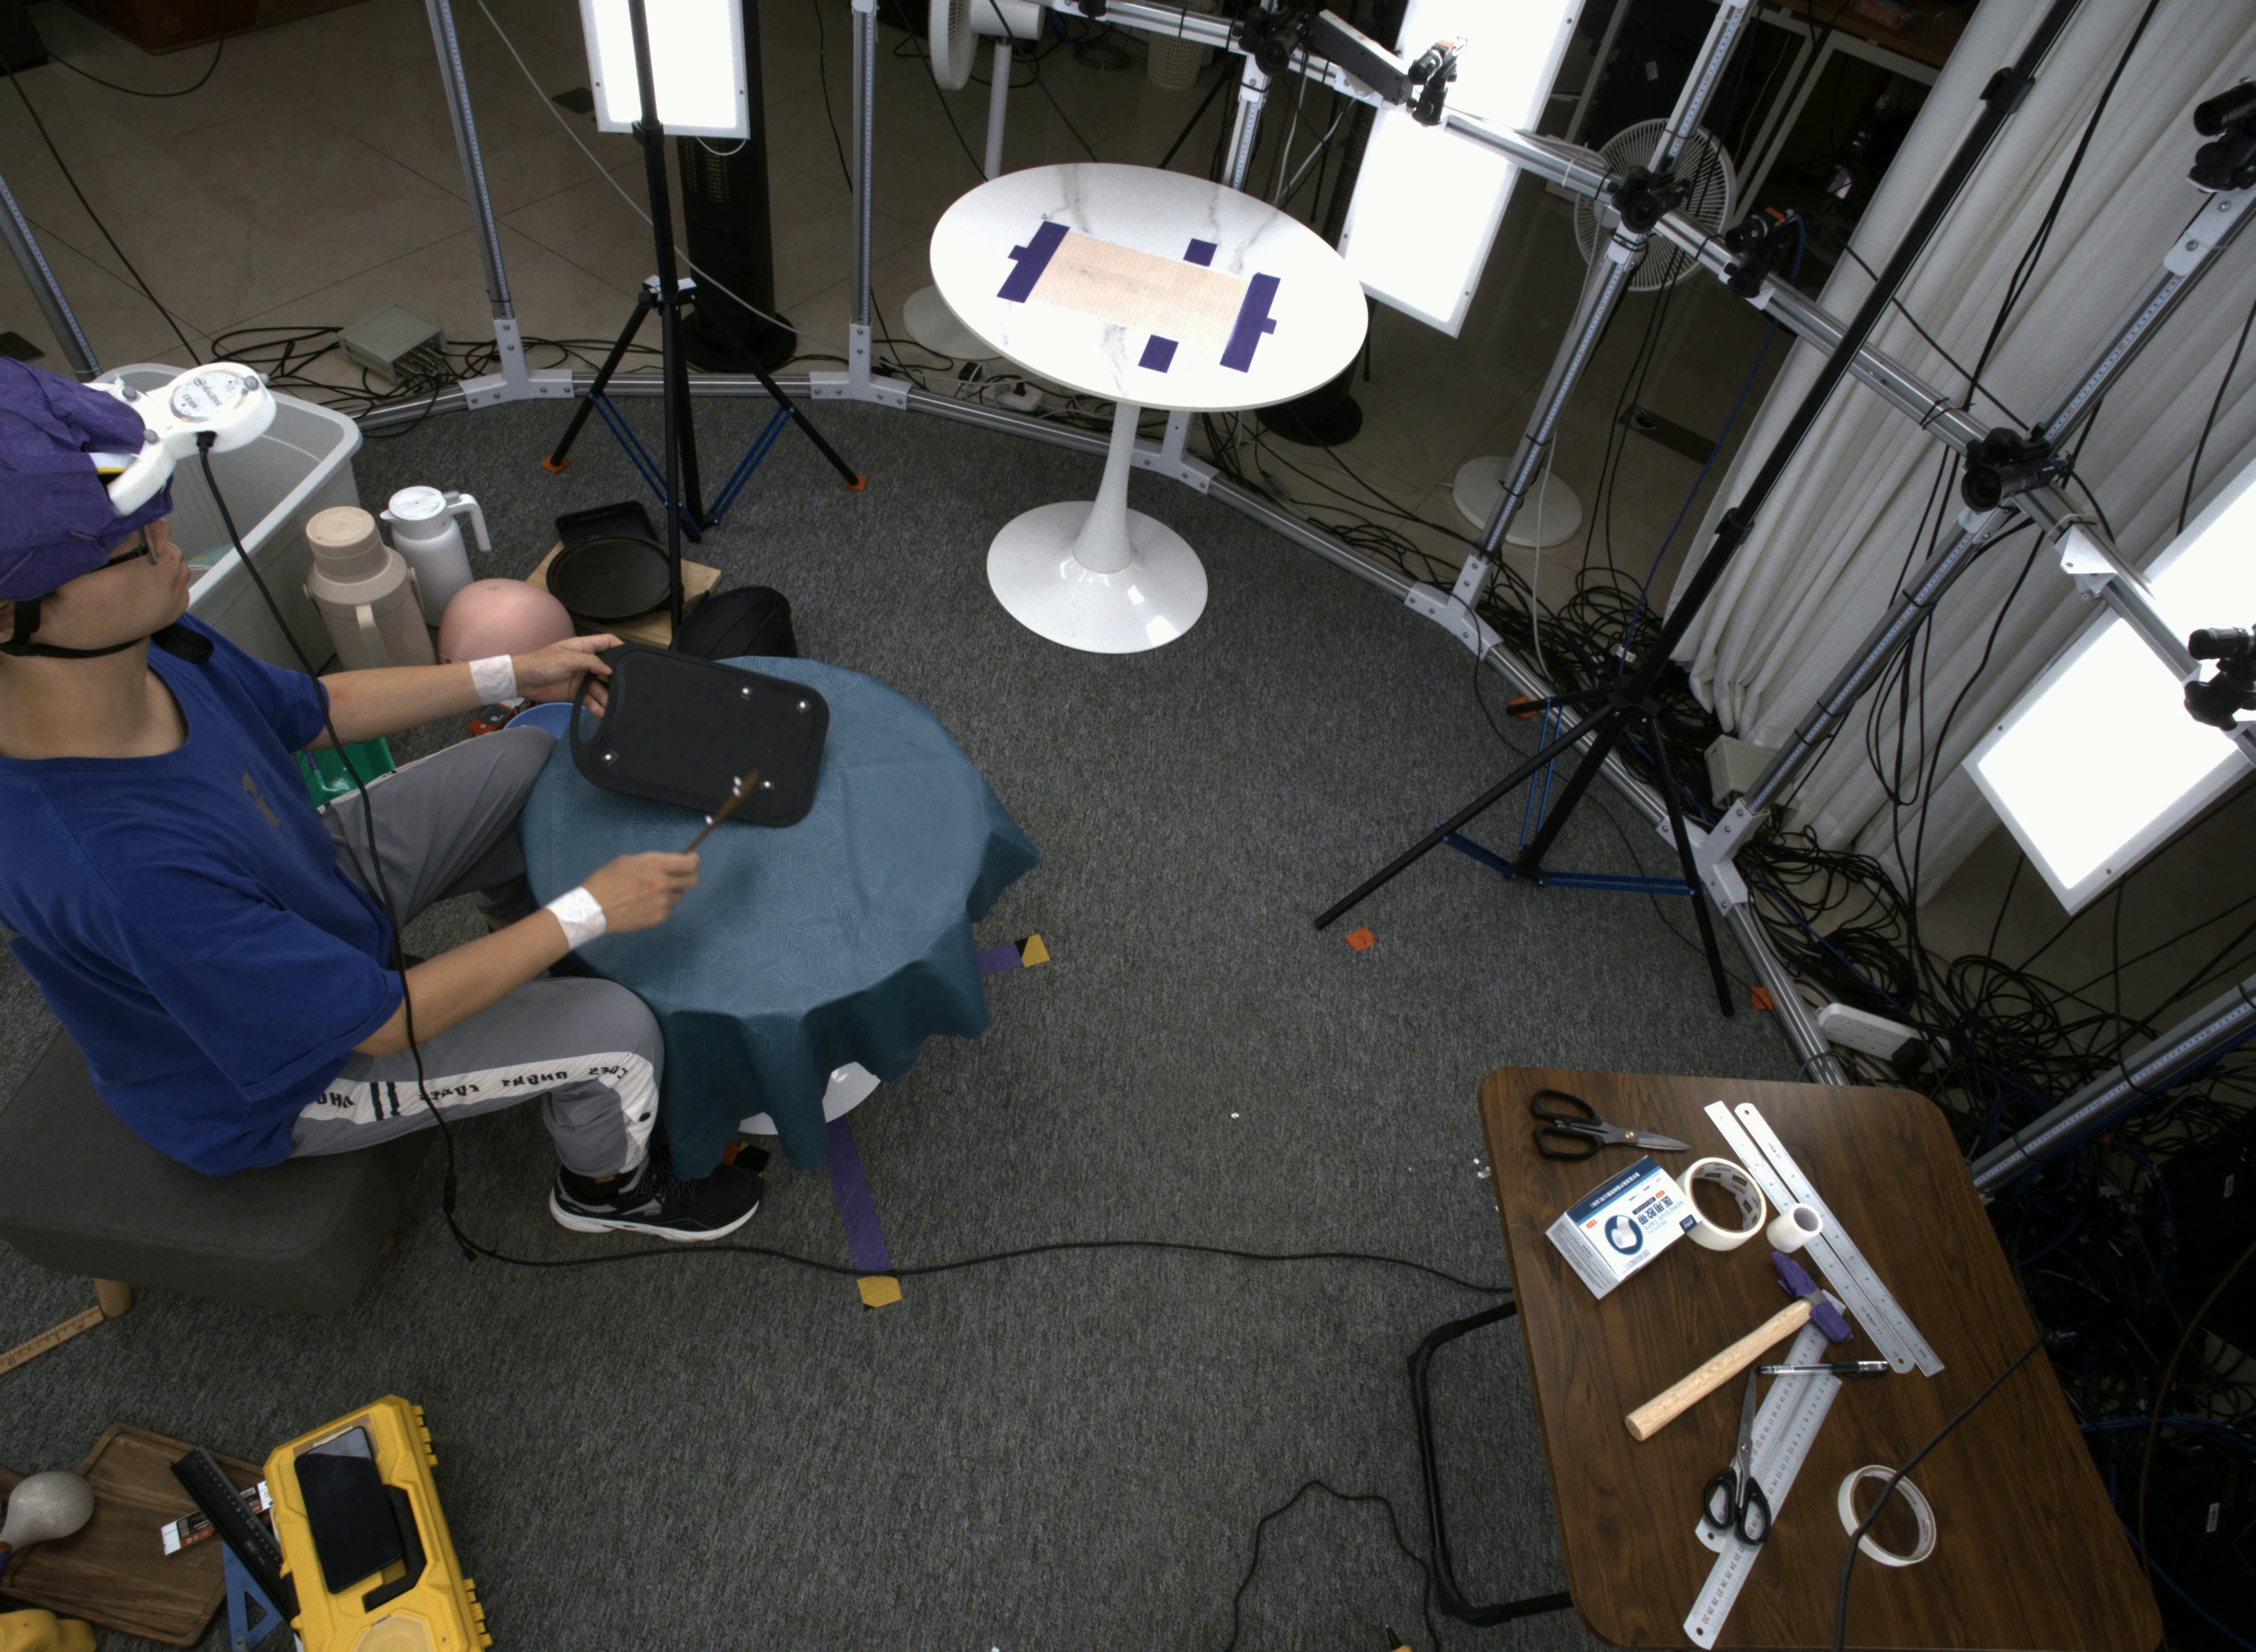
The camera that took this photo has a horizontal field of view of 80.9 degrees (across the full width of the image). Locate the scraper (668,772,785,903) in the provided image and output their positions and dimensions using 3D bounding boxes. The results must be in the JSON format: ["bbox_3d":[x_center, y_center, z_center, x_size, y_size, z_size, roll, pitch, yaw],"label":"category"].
[{"bbox_3d":[-0.494,0.013,1.591,0.011,0.074,0.211,46,62,-18],"label":"scraper"}]

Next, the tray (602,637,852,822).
[{"bbox_3d":[-0.543,-0.133,1.726,0.327,0.010,0.210,14,73,-16],"label":"tray"}]
